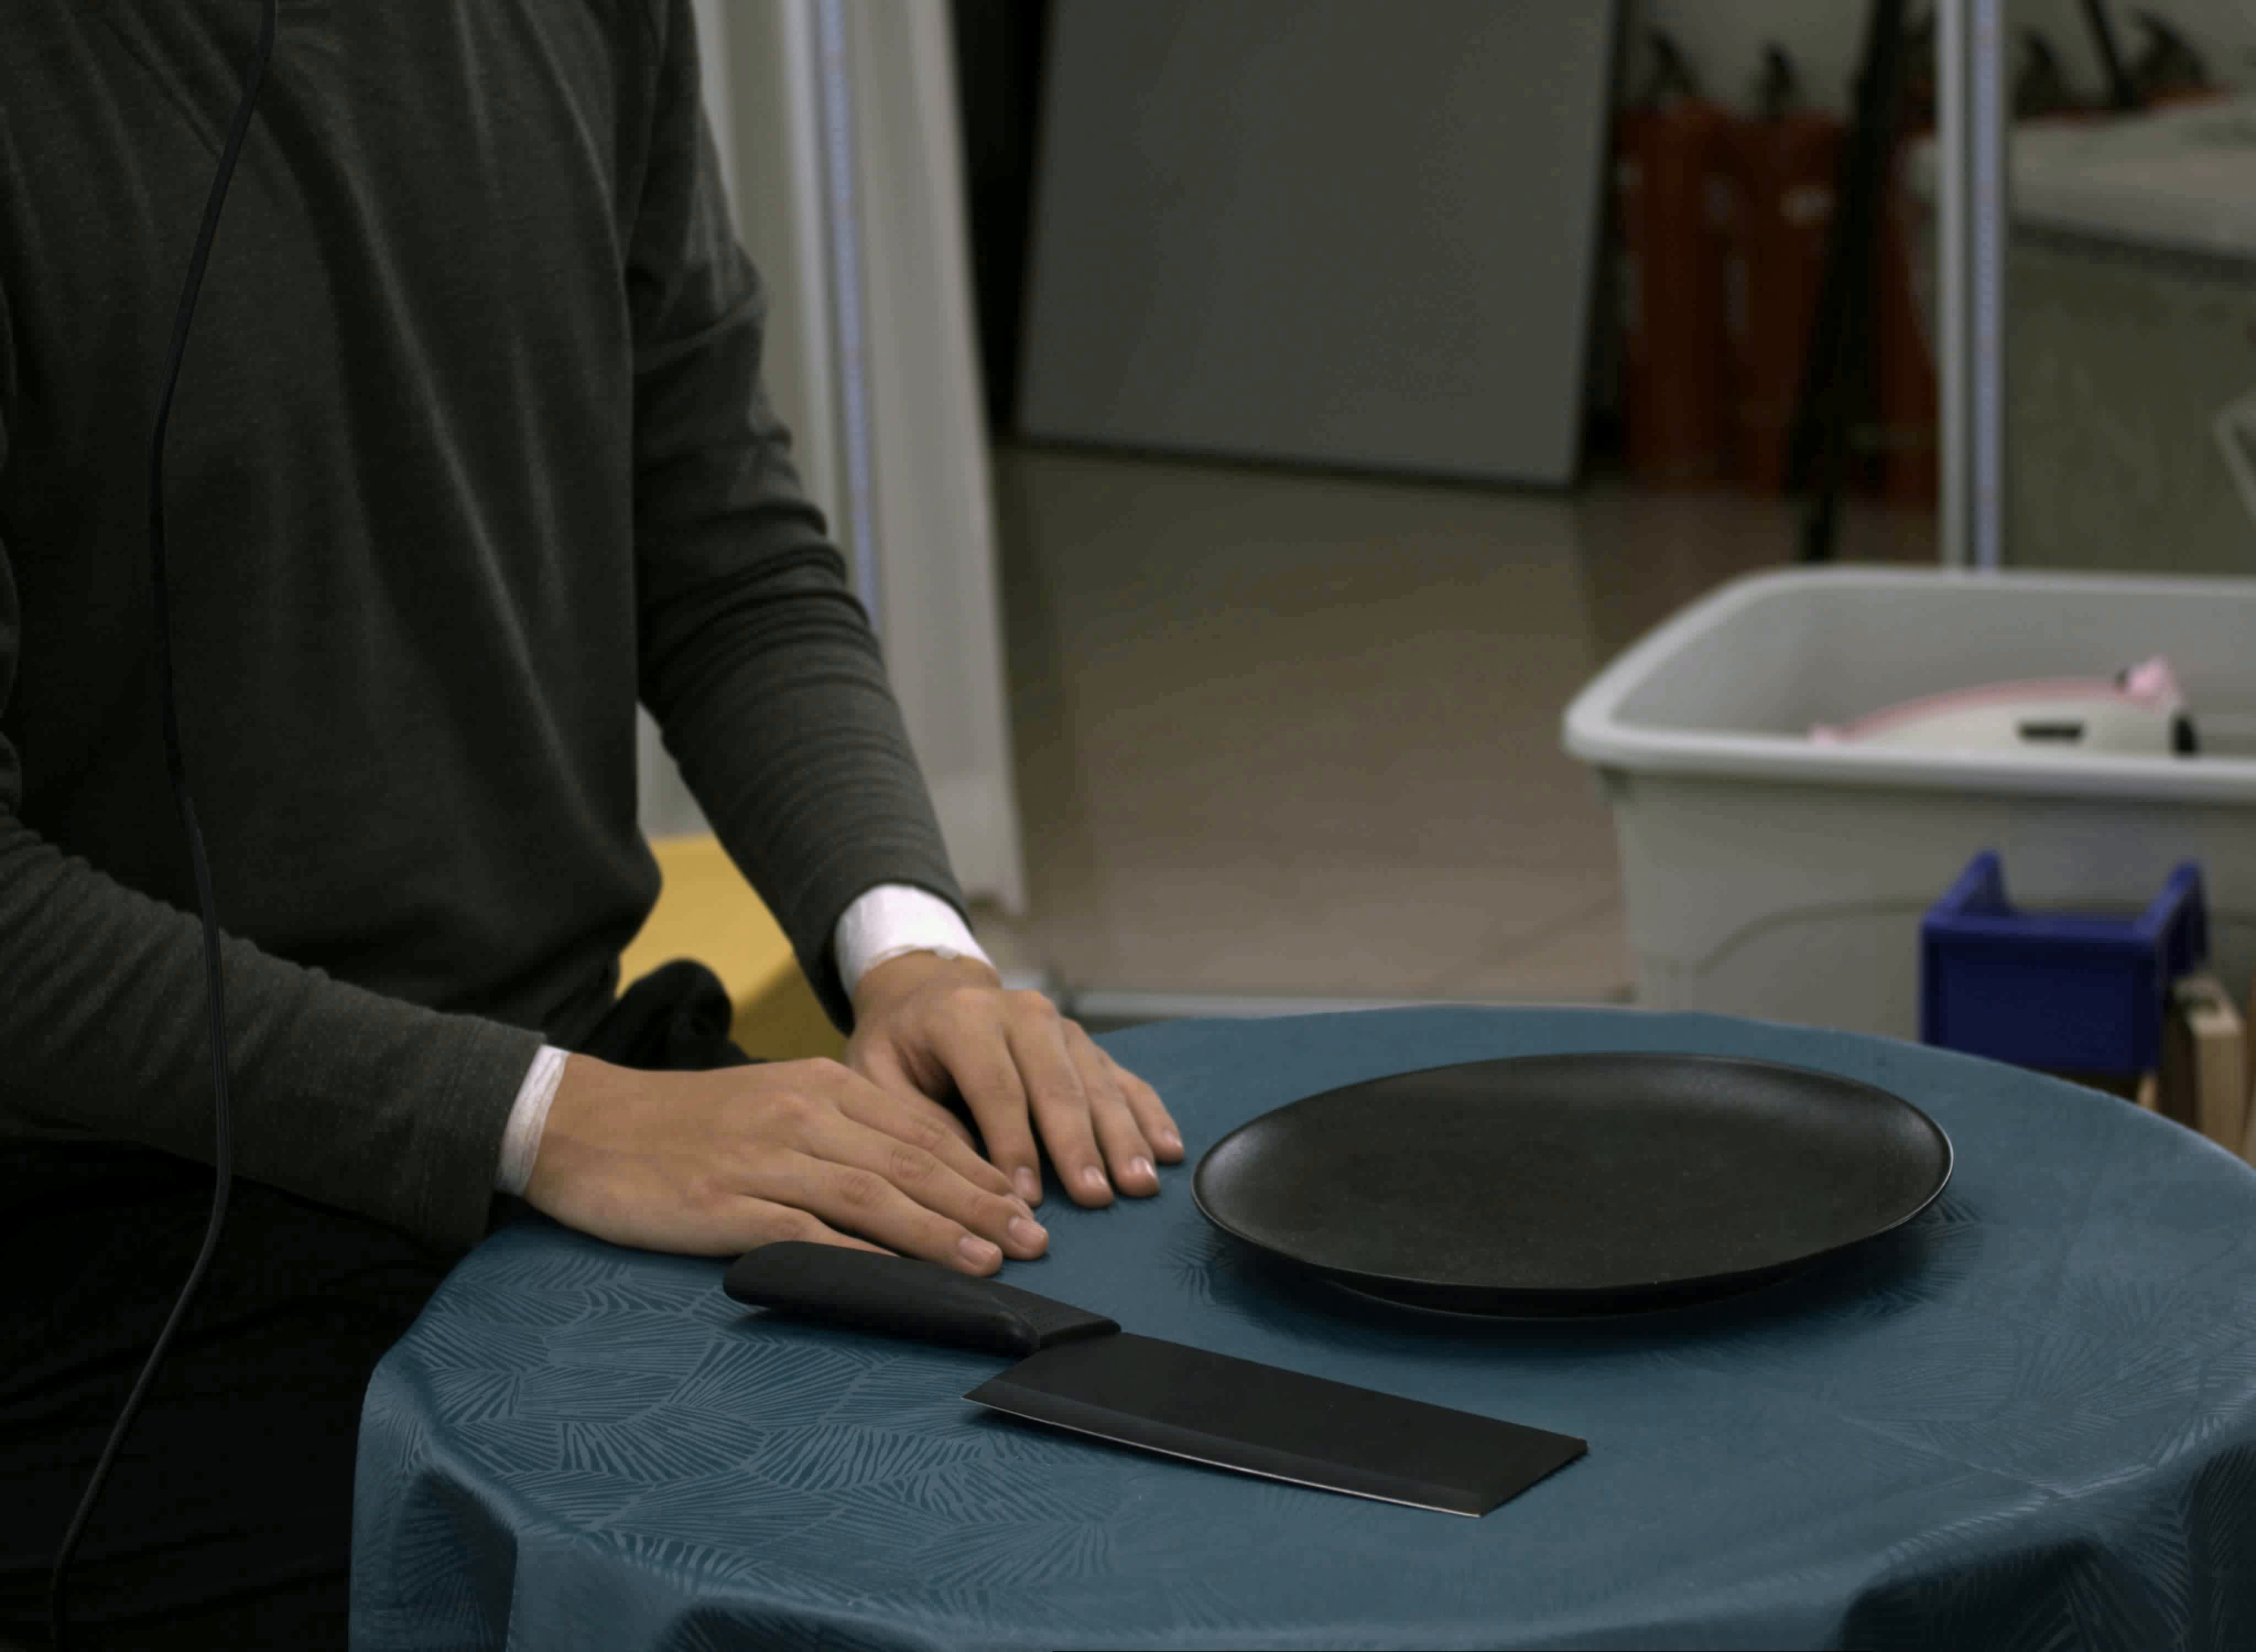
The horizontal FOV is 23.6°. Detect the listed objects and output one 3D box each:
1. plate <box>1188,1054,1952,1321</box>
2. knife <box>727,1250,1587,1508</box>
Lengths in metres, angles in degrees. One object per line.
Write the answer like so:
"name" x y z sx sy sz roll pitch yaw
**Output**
"plate" 0.140 0.117 1.704 0.241 0.024 0.245 -4 13 0
"knife" -0.003 0.162 1.581 0.305 0.021 0.079 10 20 41
